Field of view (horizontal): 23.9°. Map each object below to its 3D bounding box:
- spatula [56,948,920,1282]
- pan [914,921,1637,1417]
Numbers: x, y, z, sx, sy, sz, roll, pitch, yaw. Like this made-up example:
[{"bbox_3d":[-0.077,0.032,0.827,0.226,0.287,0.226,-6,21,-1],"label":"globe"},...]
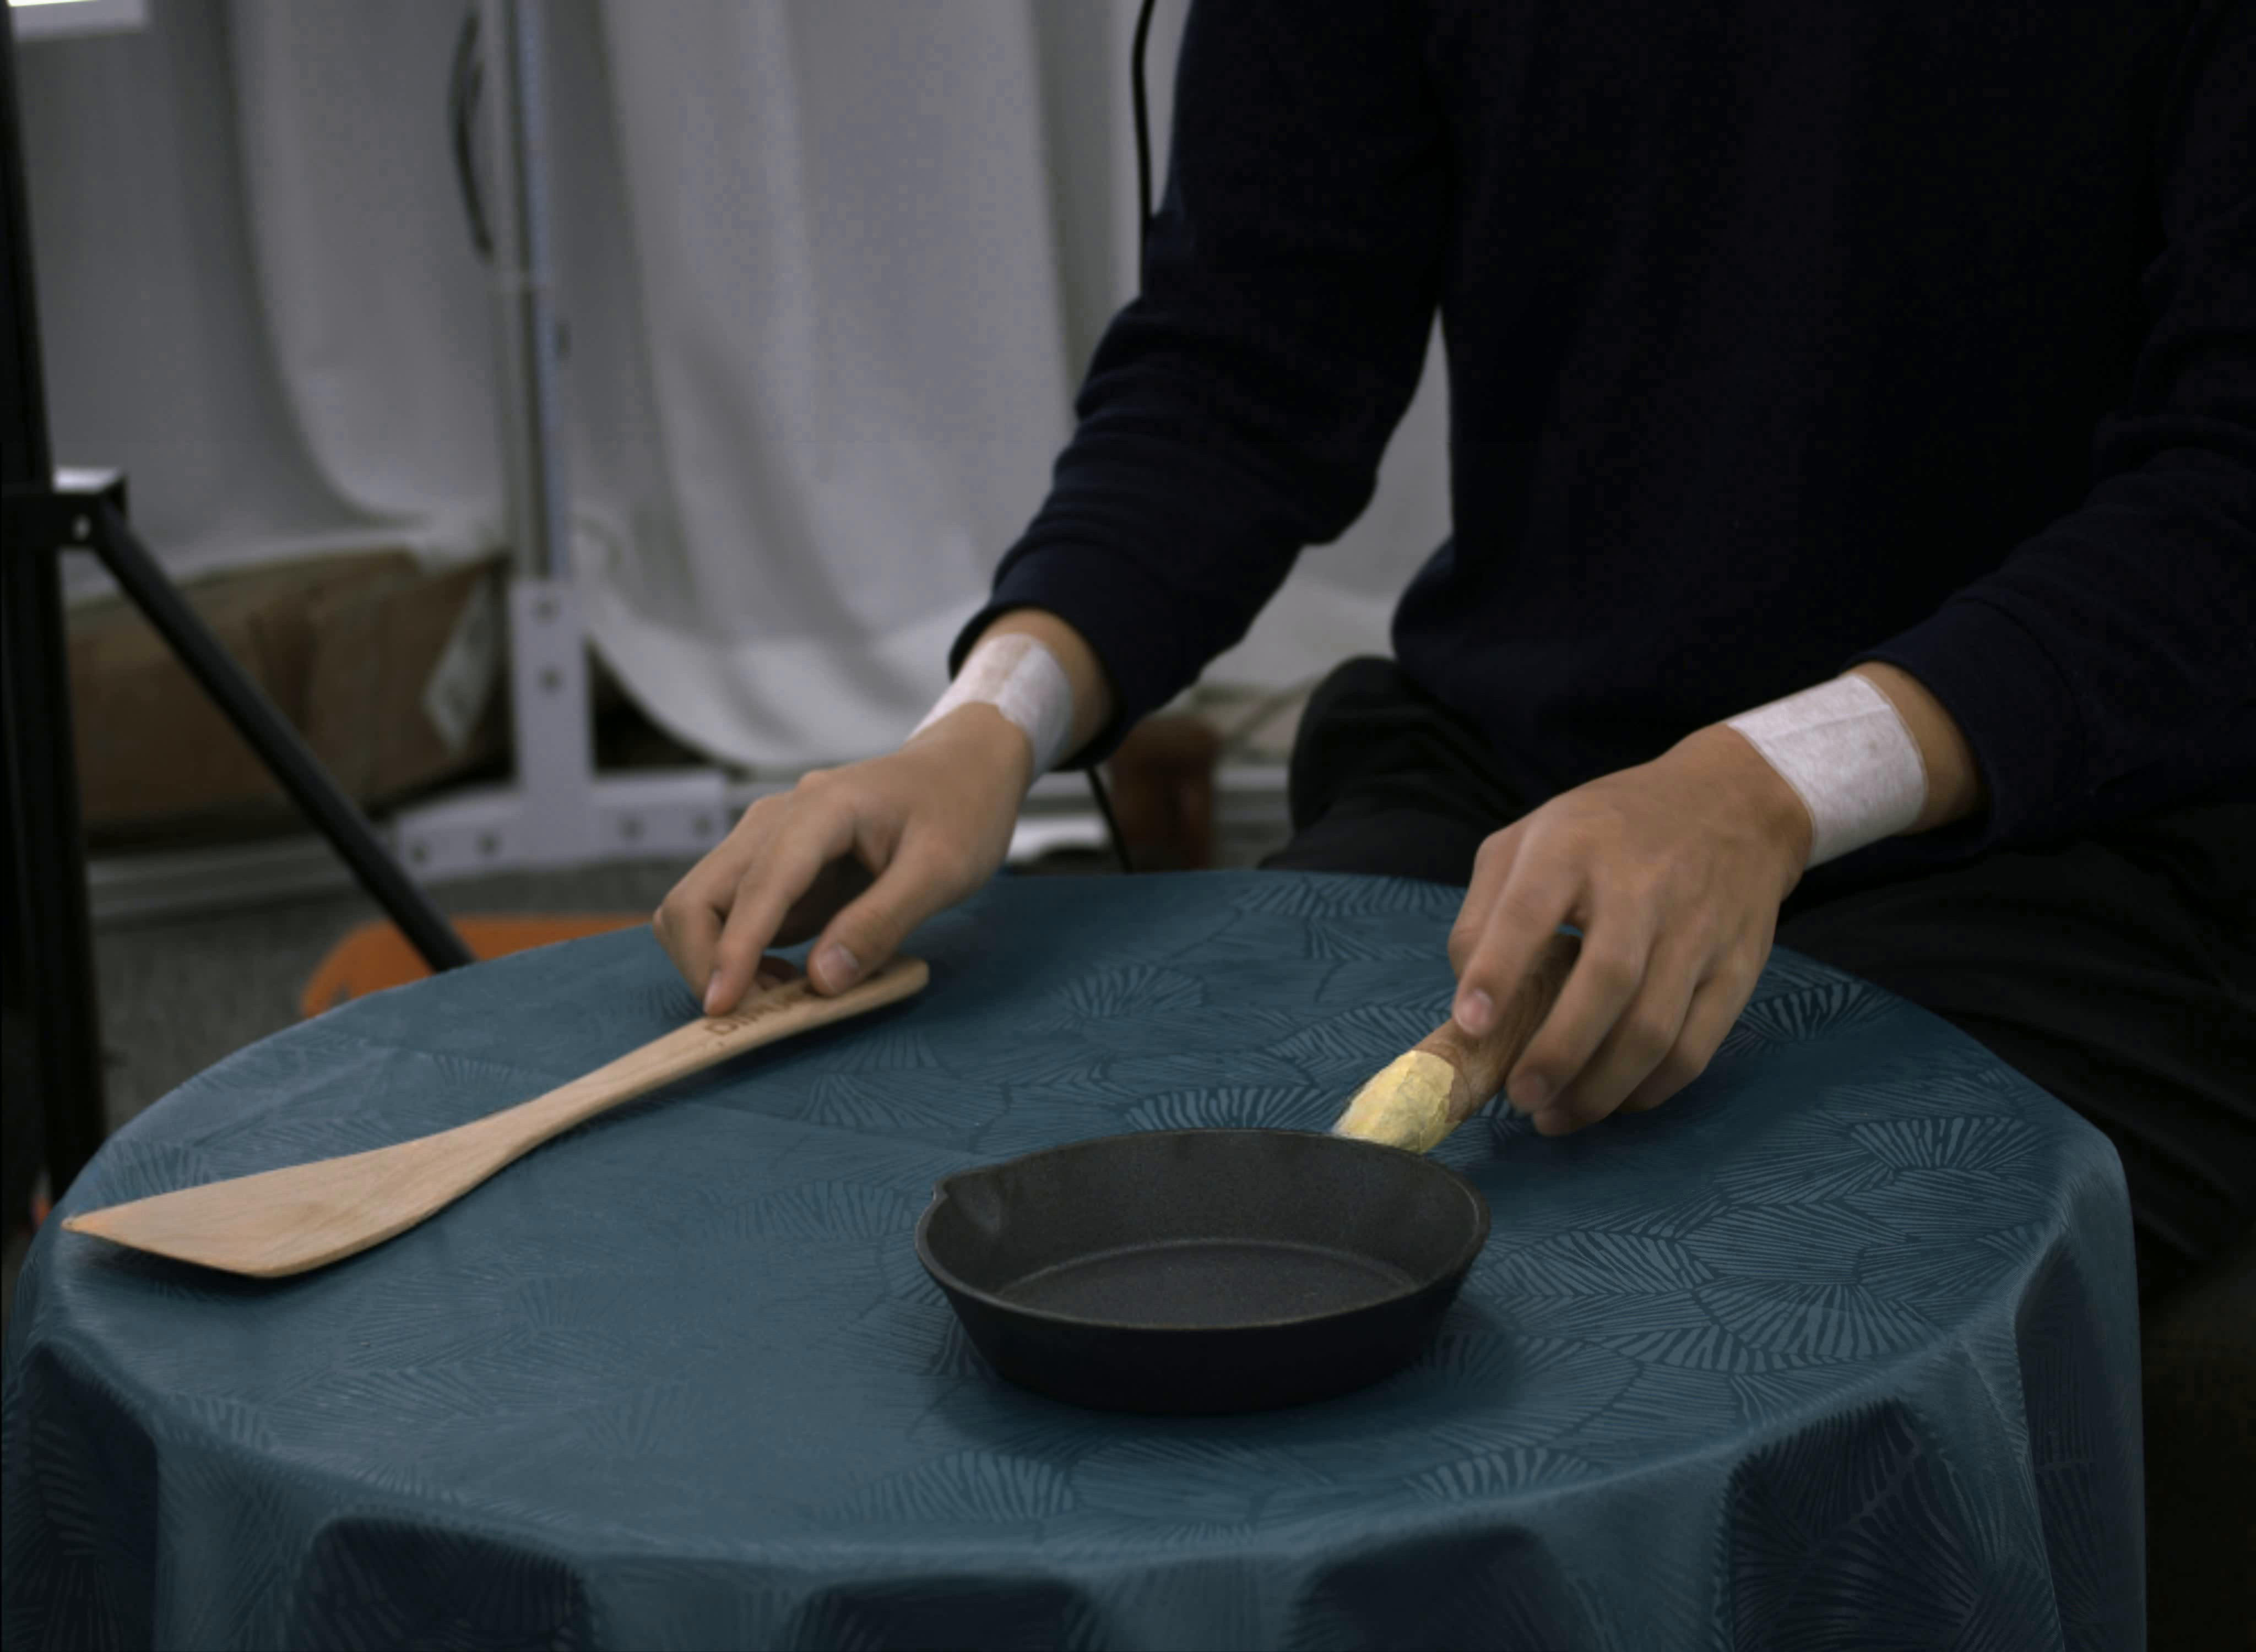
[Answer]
[{"bbox_3d":[-0.177,0.084,1.633,0.082,0.016,0.321,14,26,40],"label":"spatula"},{"bbox_3d":[0.067,0.093,1.505,0.172,0.049,0.318,8,21,33],"label":"pan"}]
